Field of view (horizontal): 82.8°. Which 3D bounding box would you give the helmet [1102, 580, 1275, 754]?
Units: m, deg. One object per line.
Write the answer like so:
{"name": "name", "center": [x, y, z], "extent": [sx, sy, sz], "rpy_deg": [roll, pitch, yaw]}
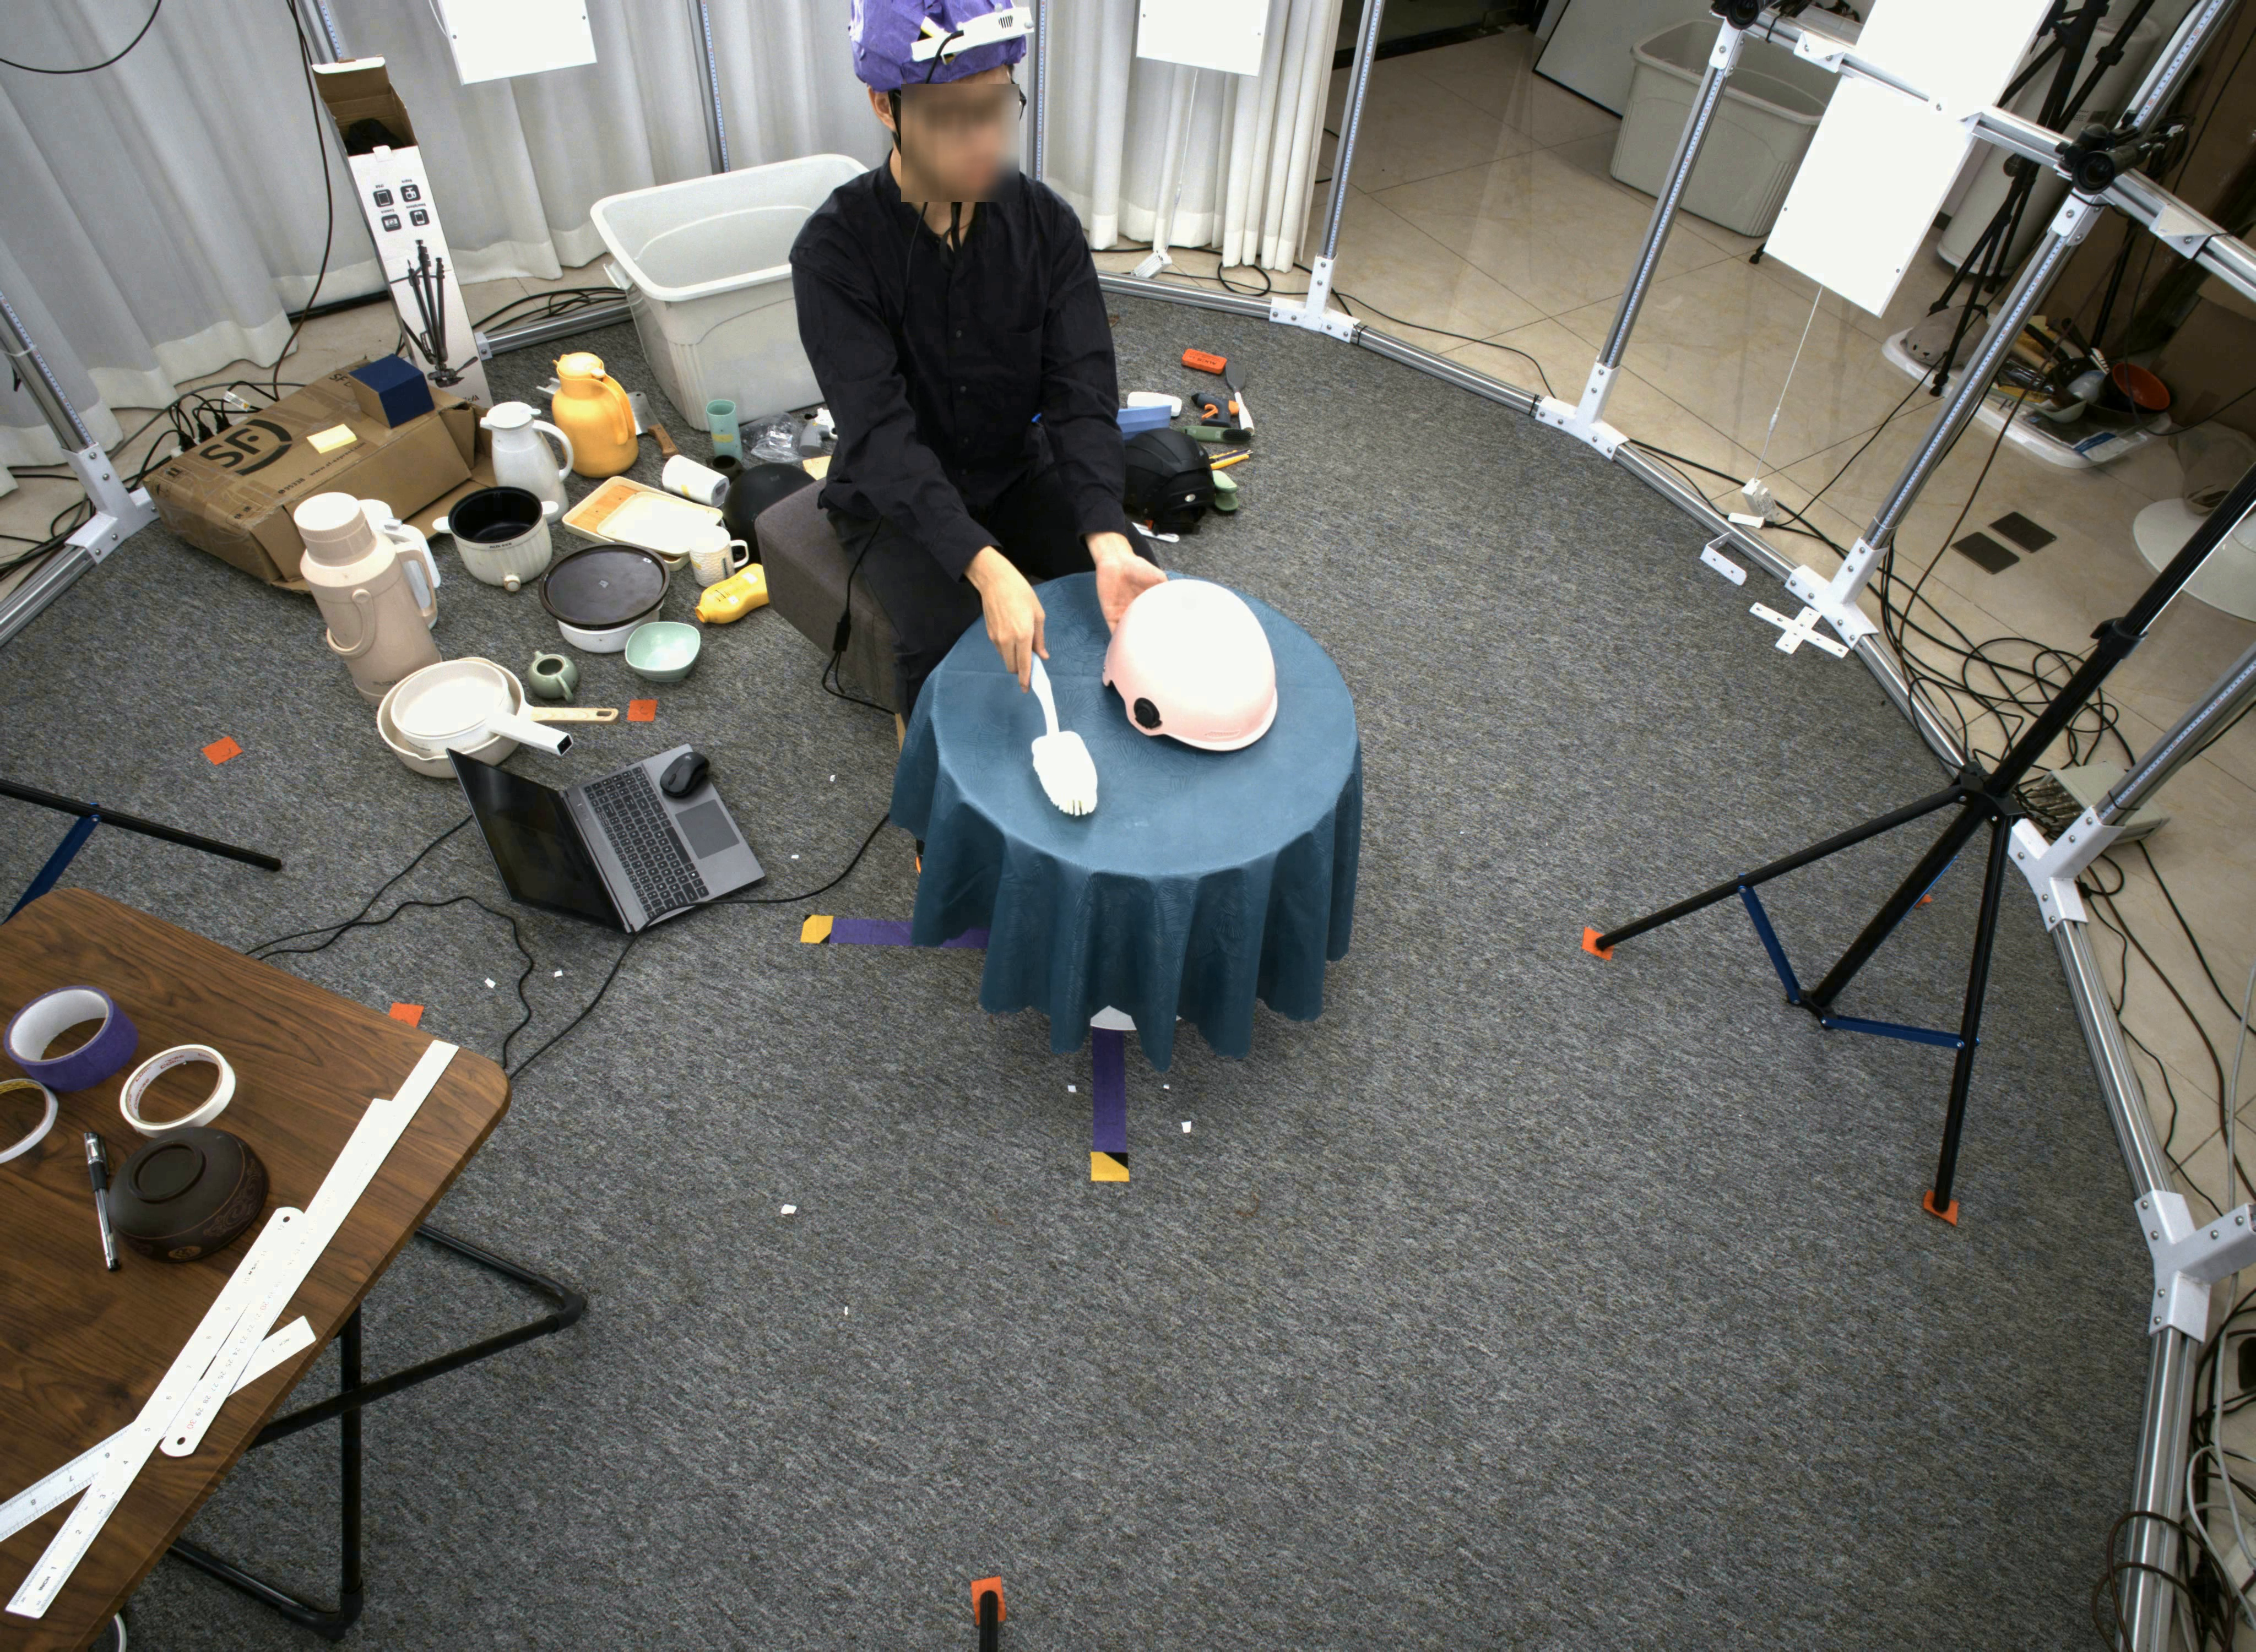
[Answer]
{"name": "helmet", "center": [0.096, -0.240, 1.787], "extent": [0.235, 0.155, 0.270], "rpy_deg": [-30, 62, -27]}

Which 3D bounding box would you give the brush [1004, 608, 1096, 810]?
{"name": "brush", "center": [-0.109, -0.156, 1.745], "extent": [0.082, 0.083, 0.332], "rpy_deg": [12, 47, -46]}
